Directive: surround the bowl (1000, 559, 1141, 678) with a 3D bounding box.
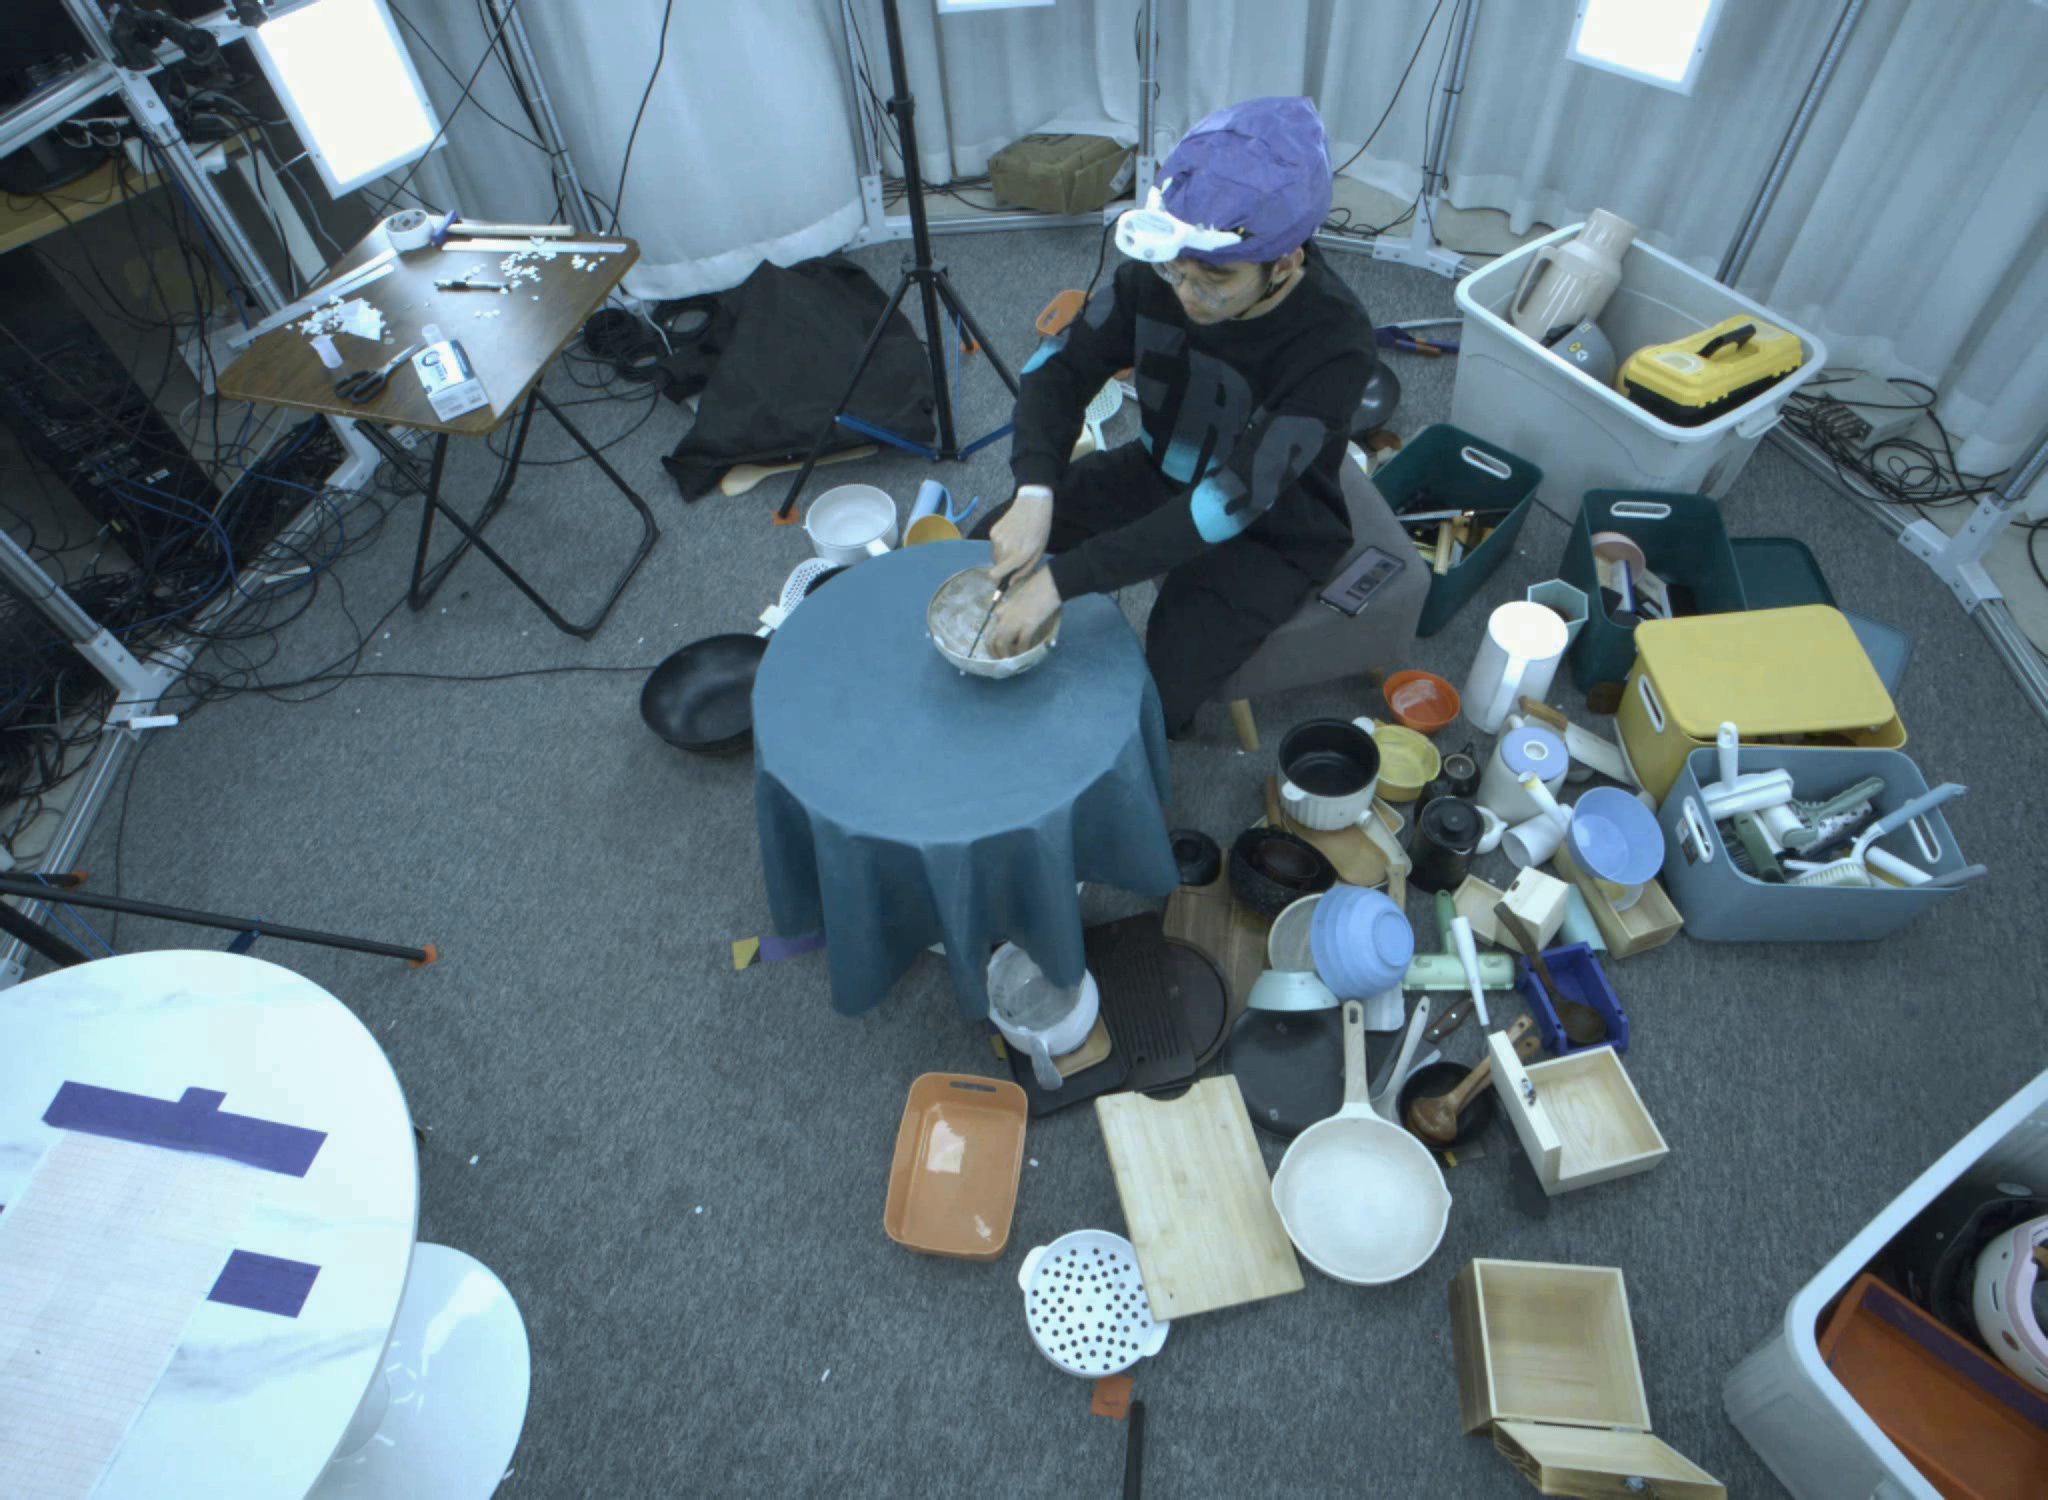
[{"bbox_3d":[0.072,-0.184,1.854,0.214,0.096,0.212,-2,54,3],"label":"bowl"}]

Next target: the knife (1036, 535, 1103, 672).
[{"bbox_3d":[0.066,-0.220,1.844,0.017,0.026,0.225,25,90,9],"label":"knife"}]
